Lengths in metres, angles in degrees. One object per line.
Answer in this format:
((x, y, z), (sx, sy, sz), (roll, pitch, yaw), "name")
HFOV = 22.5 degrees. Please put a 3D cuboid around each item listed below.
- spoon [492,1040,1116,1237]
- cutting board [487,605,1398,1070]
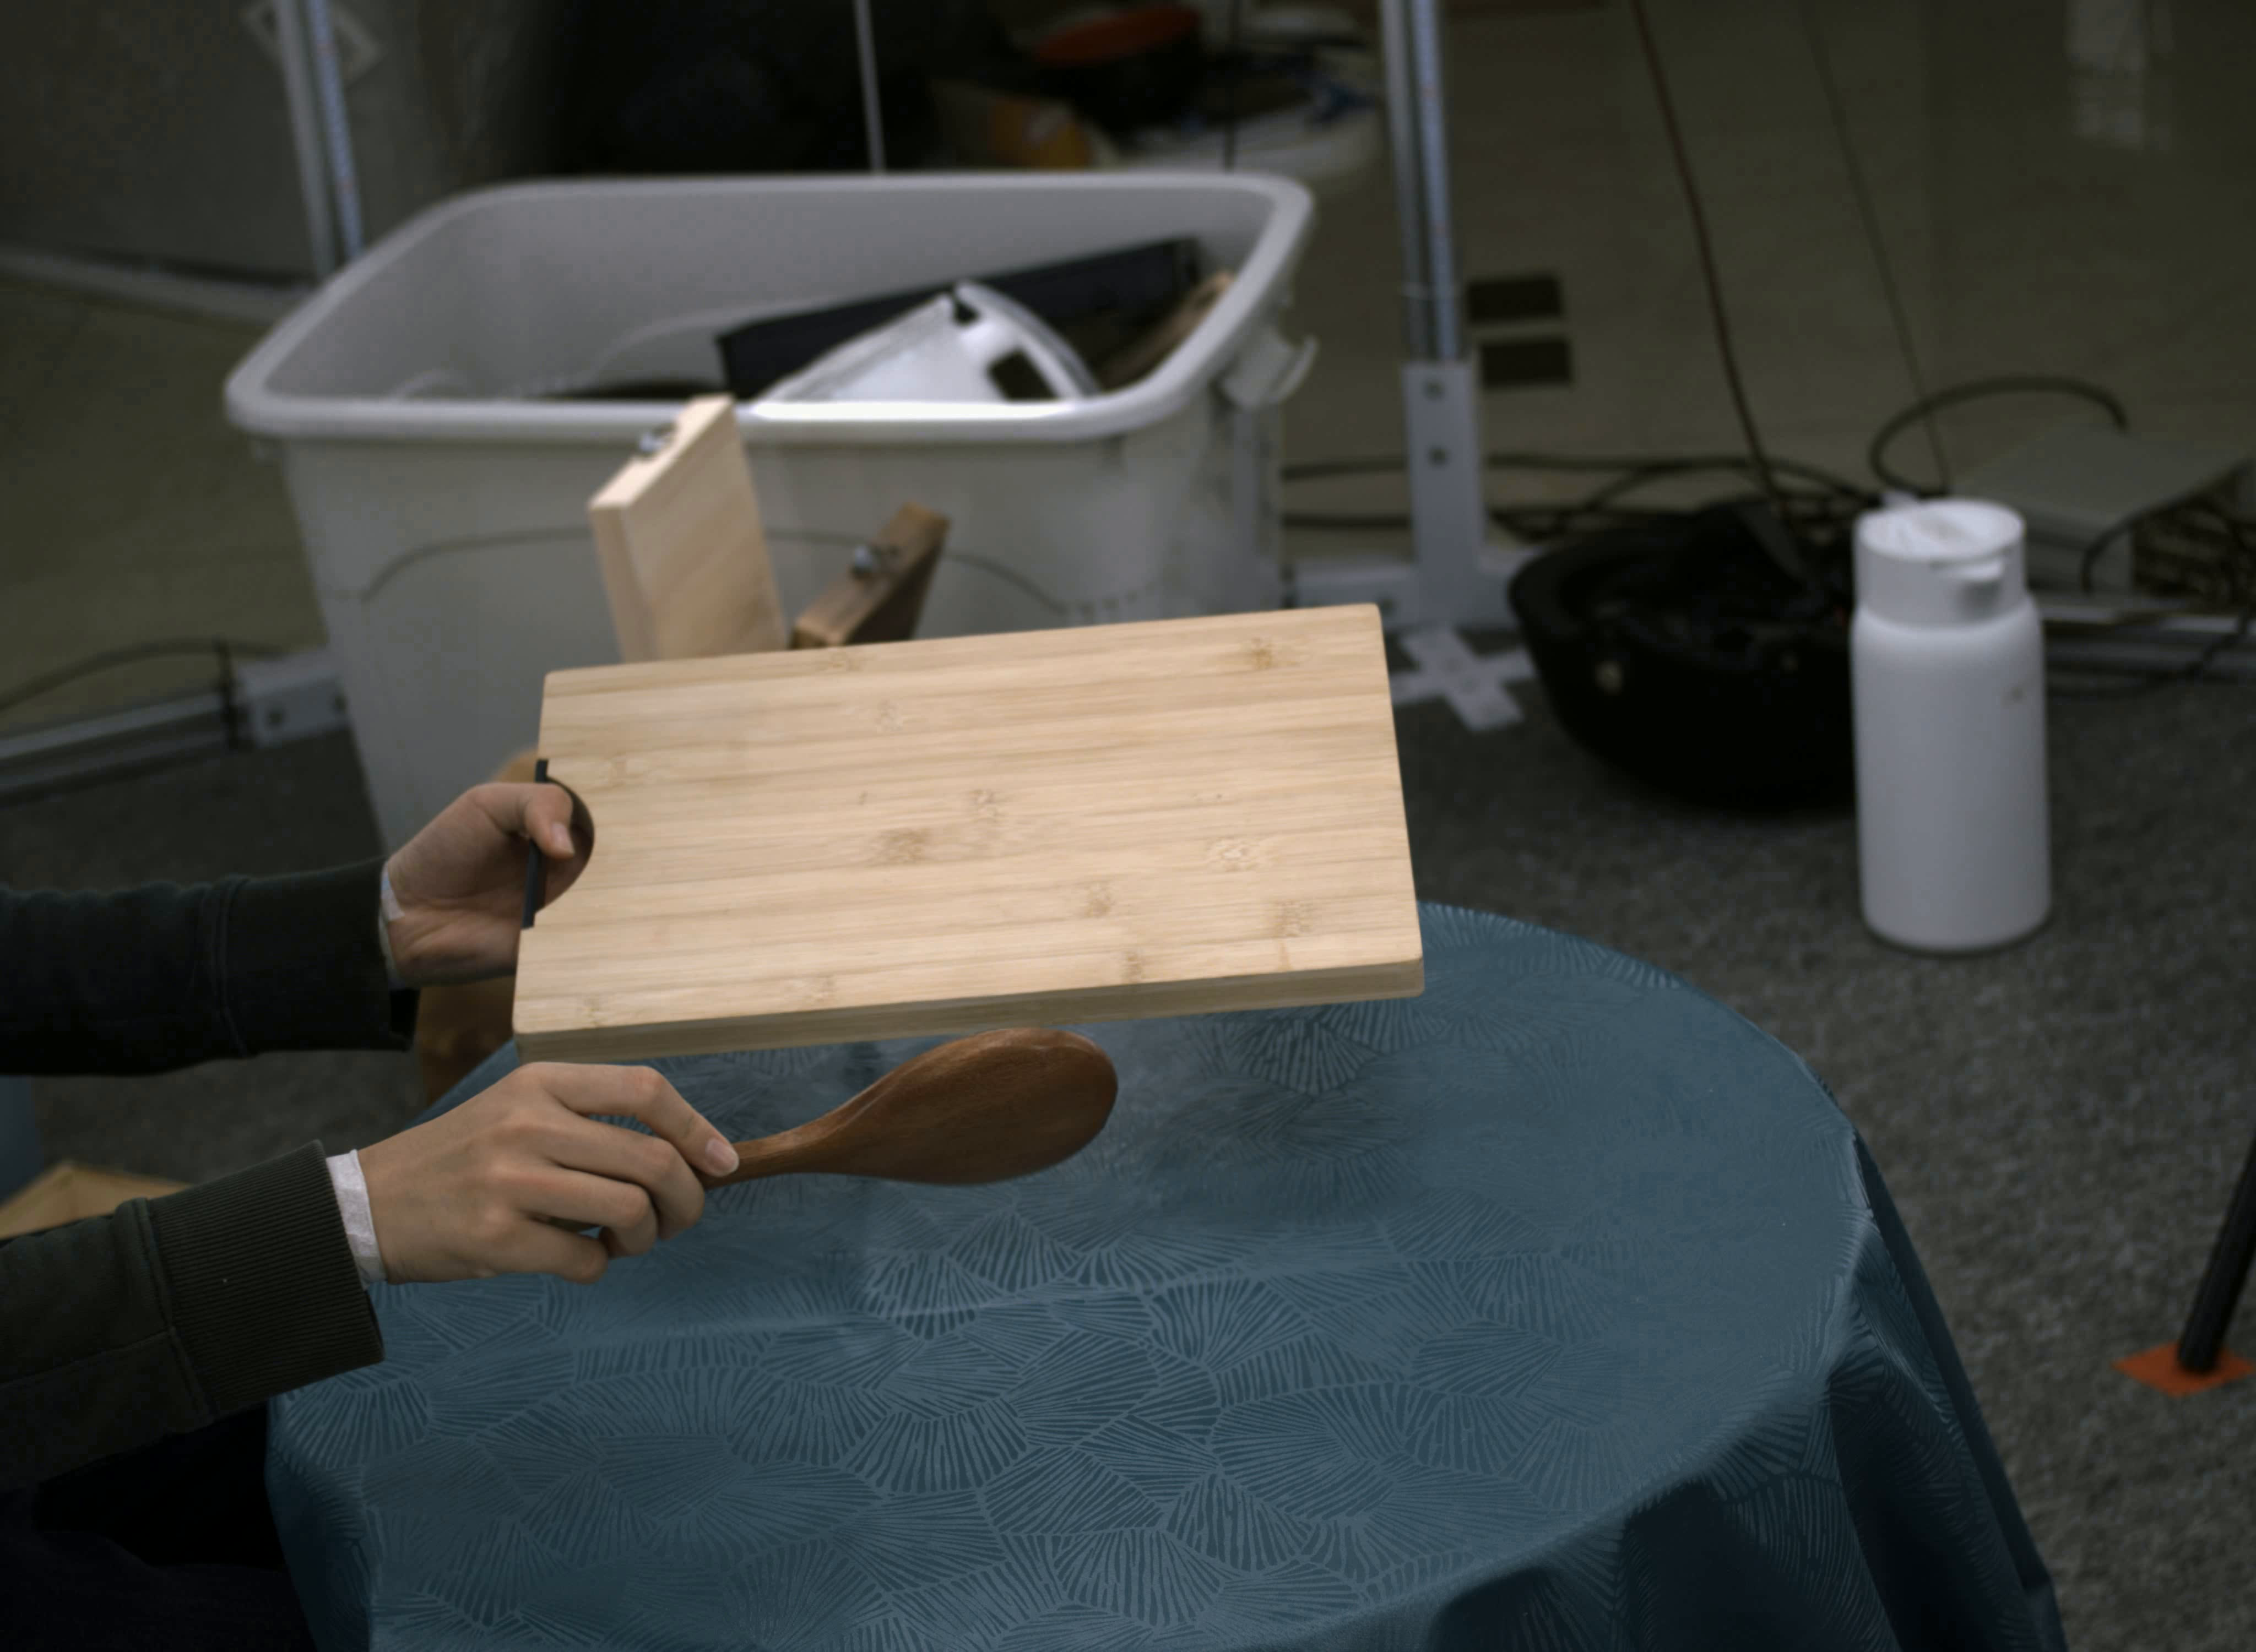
((-0.109, 0.112, 1.927), (0.215, 0.077, 0.017), (-9, 50, -4), "spoon")
((-0.070, 0.002, 2.197), (0.348, 0.024, 0.246), (-5, 36, 0), "cutting board")
